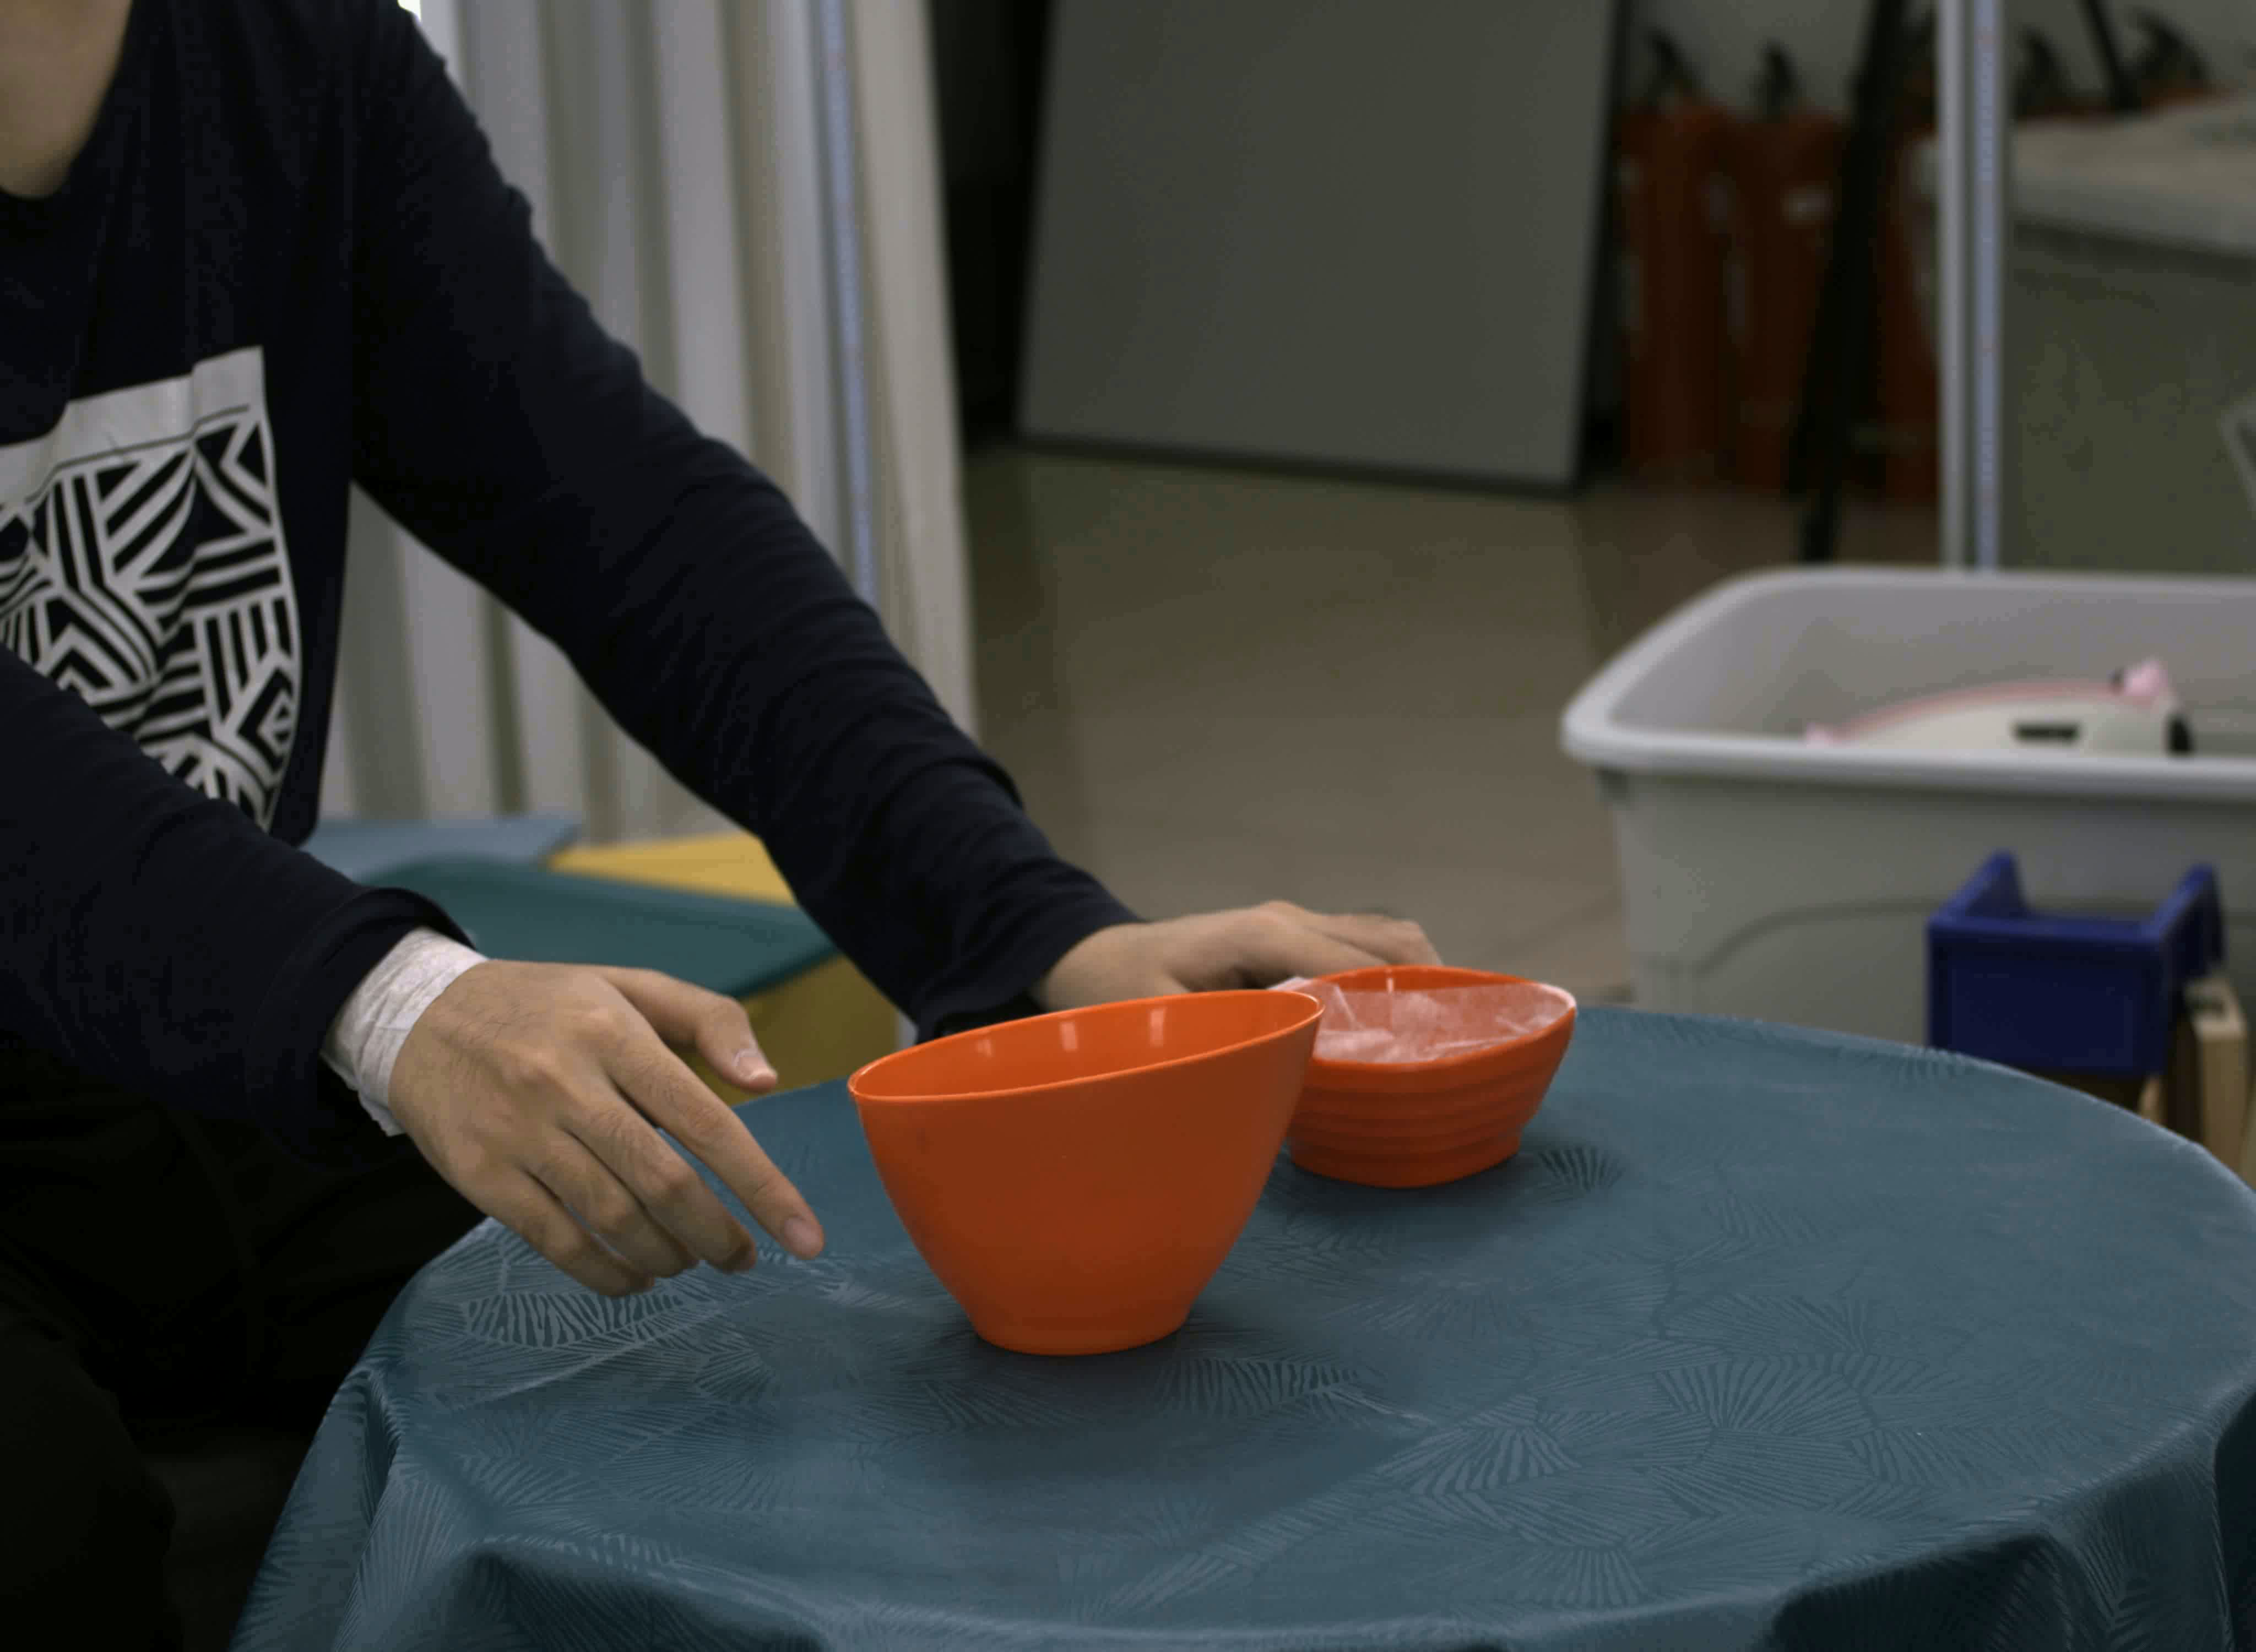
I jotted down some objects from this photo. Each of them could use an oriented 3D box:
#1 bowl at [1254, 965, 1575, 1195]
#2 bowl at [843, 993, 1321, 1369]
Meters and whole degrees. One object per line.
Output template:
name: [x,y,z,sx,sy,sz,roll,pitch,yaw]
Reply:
bowl: [0.091,0.086,1.786,0.117,0.052,0.119,-5,14,0]
bowl: [-0.011,0.106,1.630,0.146,0.106,0.148,-5,12,0]
